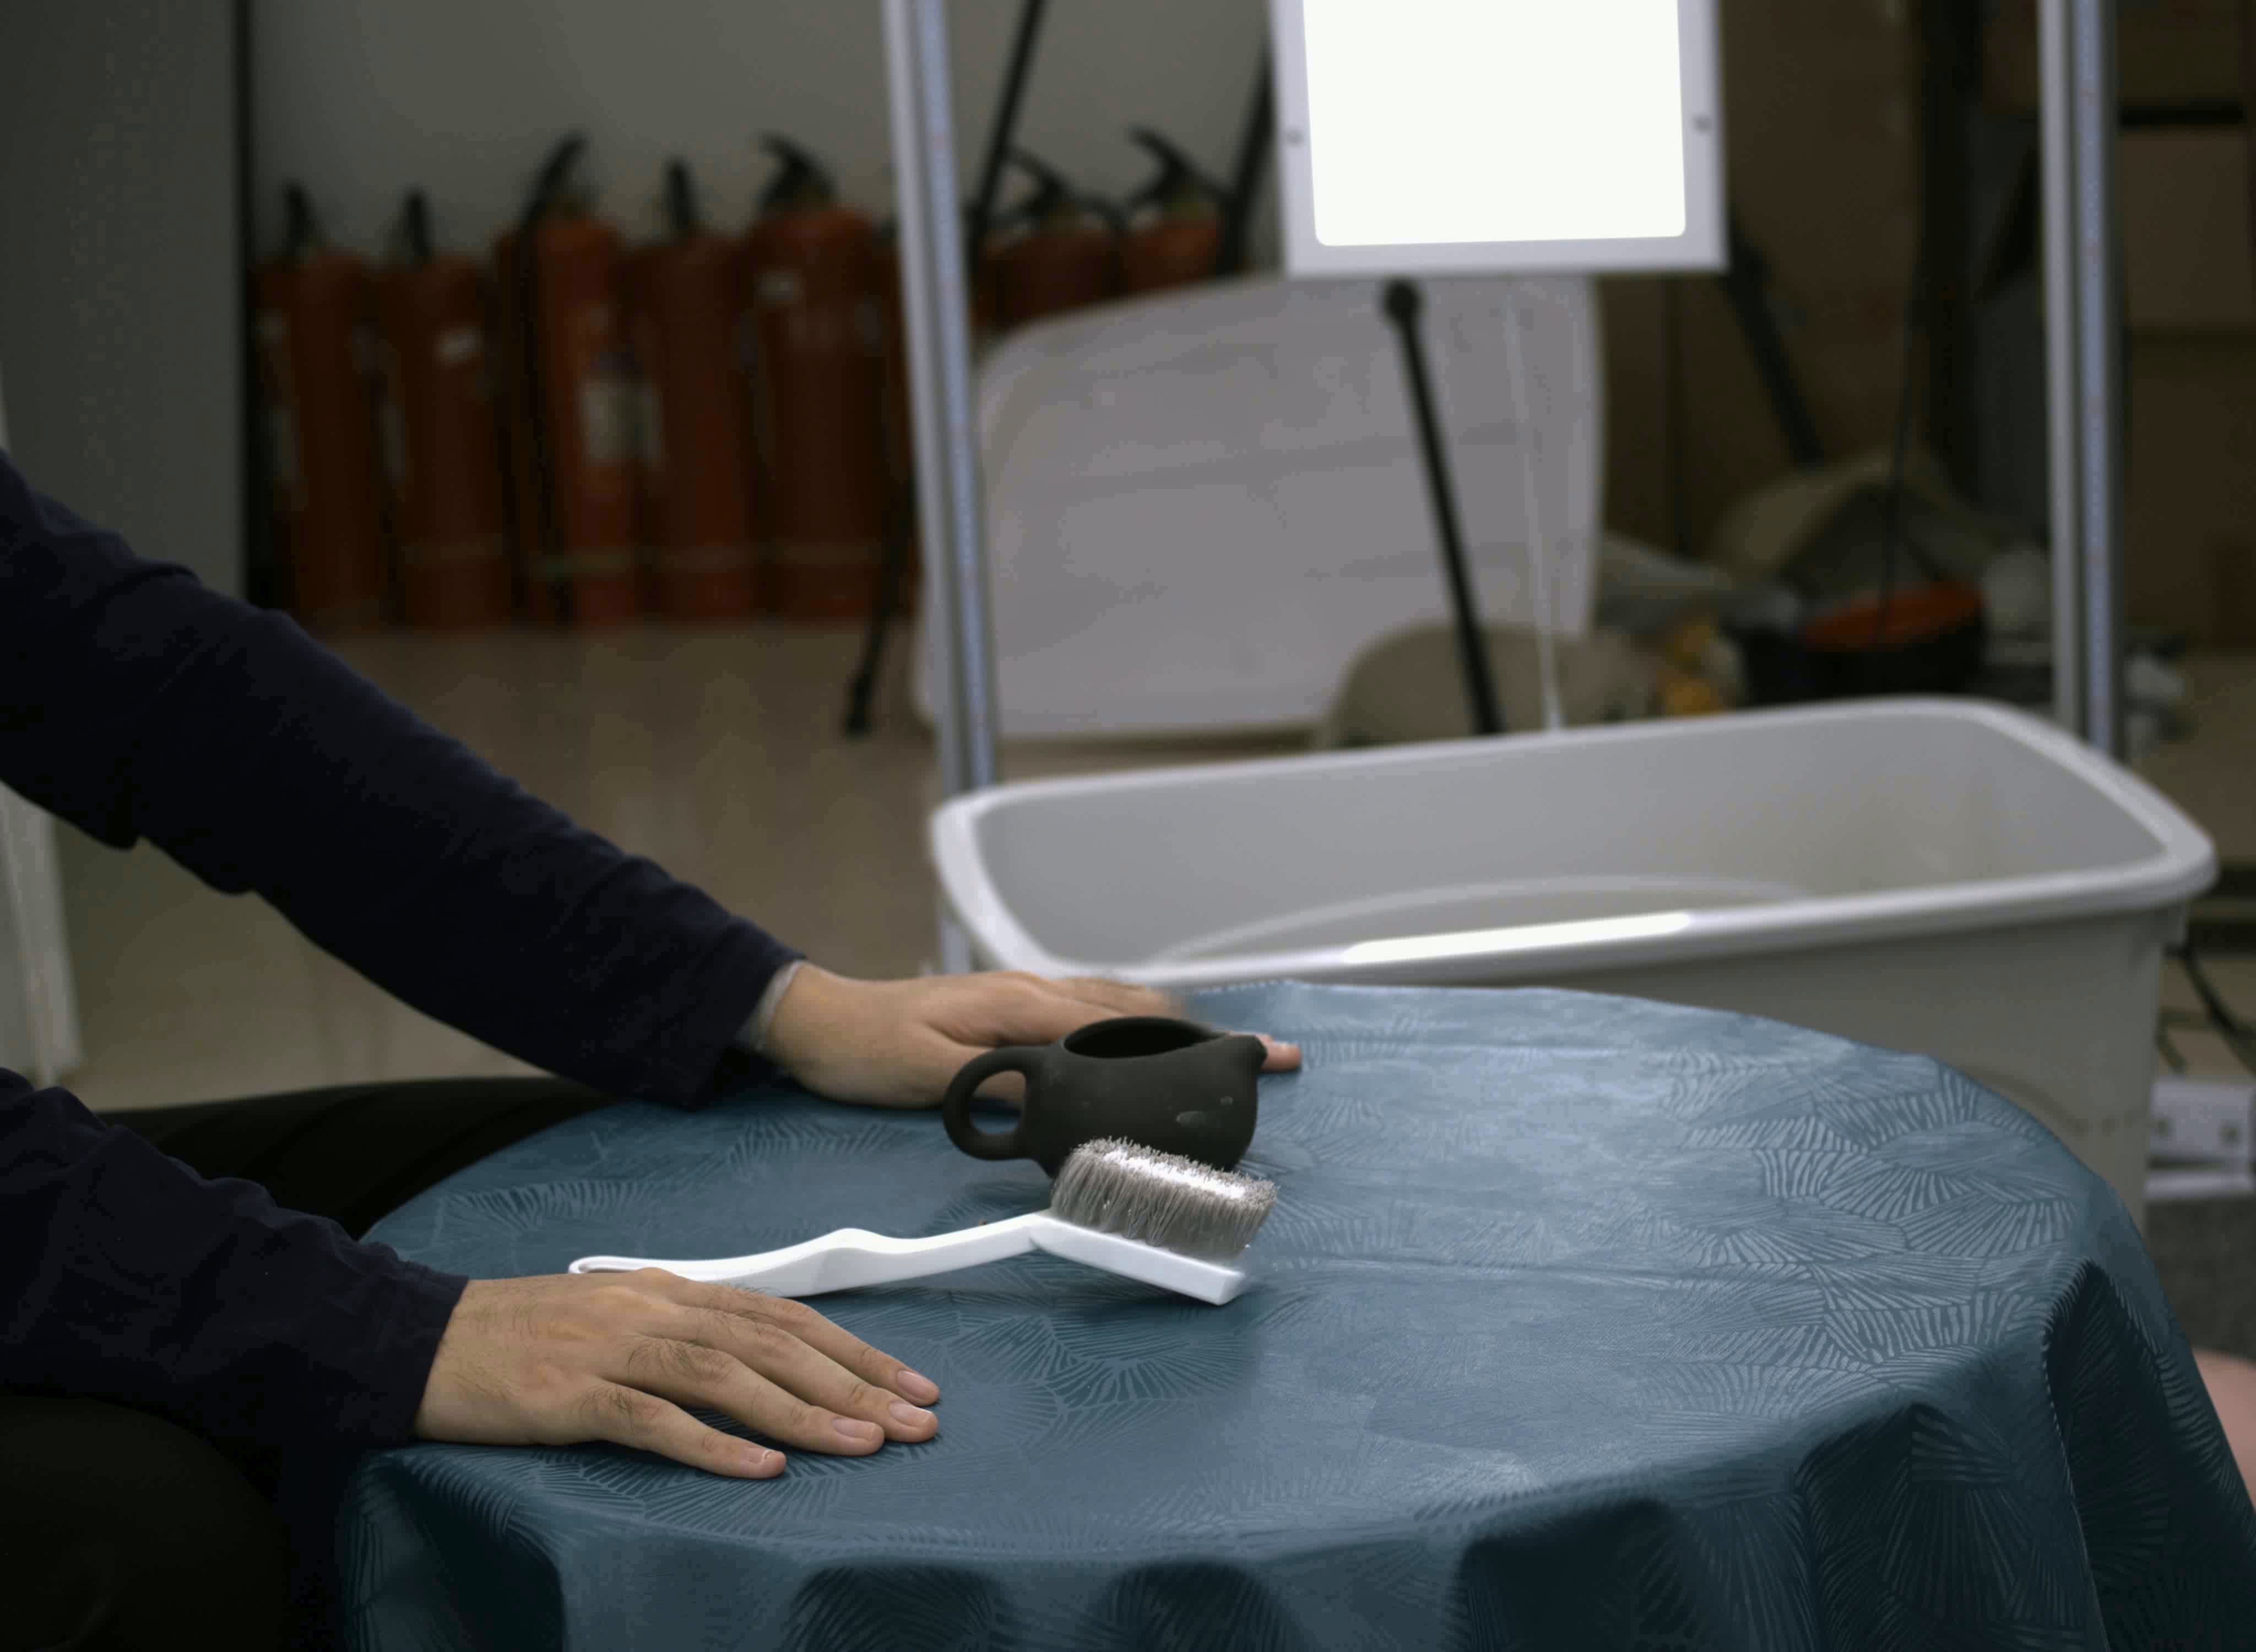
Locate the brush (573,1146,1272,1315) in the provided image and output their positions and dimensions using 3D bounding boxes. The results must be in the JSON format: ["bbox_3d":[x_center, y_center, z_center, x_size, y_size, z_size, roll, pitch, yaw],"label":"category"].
[{"bbox_3d":[-0.071,0.130,1.811,0.247,0.050,0.034,0,19,20],"label":"brush"}]

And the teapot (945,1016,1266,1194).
[{"bbox_3d":[-0.007,0.098,1.913,0.114,0.053,0.082,-3,15,7],"label":"teapot"}]
